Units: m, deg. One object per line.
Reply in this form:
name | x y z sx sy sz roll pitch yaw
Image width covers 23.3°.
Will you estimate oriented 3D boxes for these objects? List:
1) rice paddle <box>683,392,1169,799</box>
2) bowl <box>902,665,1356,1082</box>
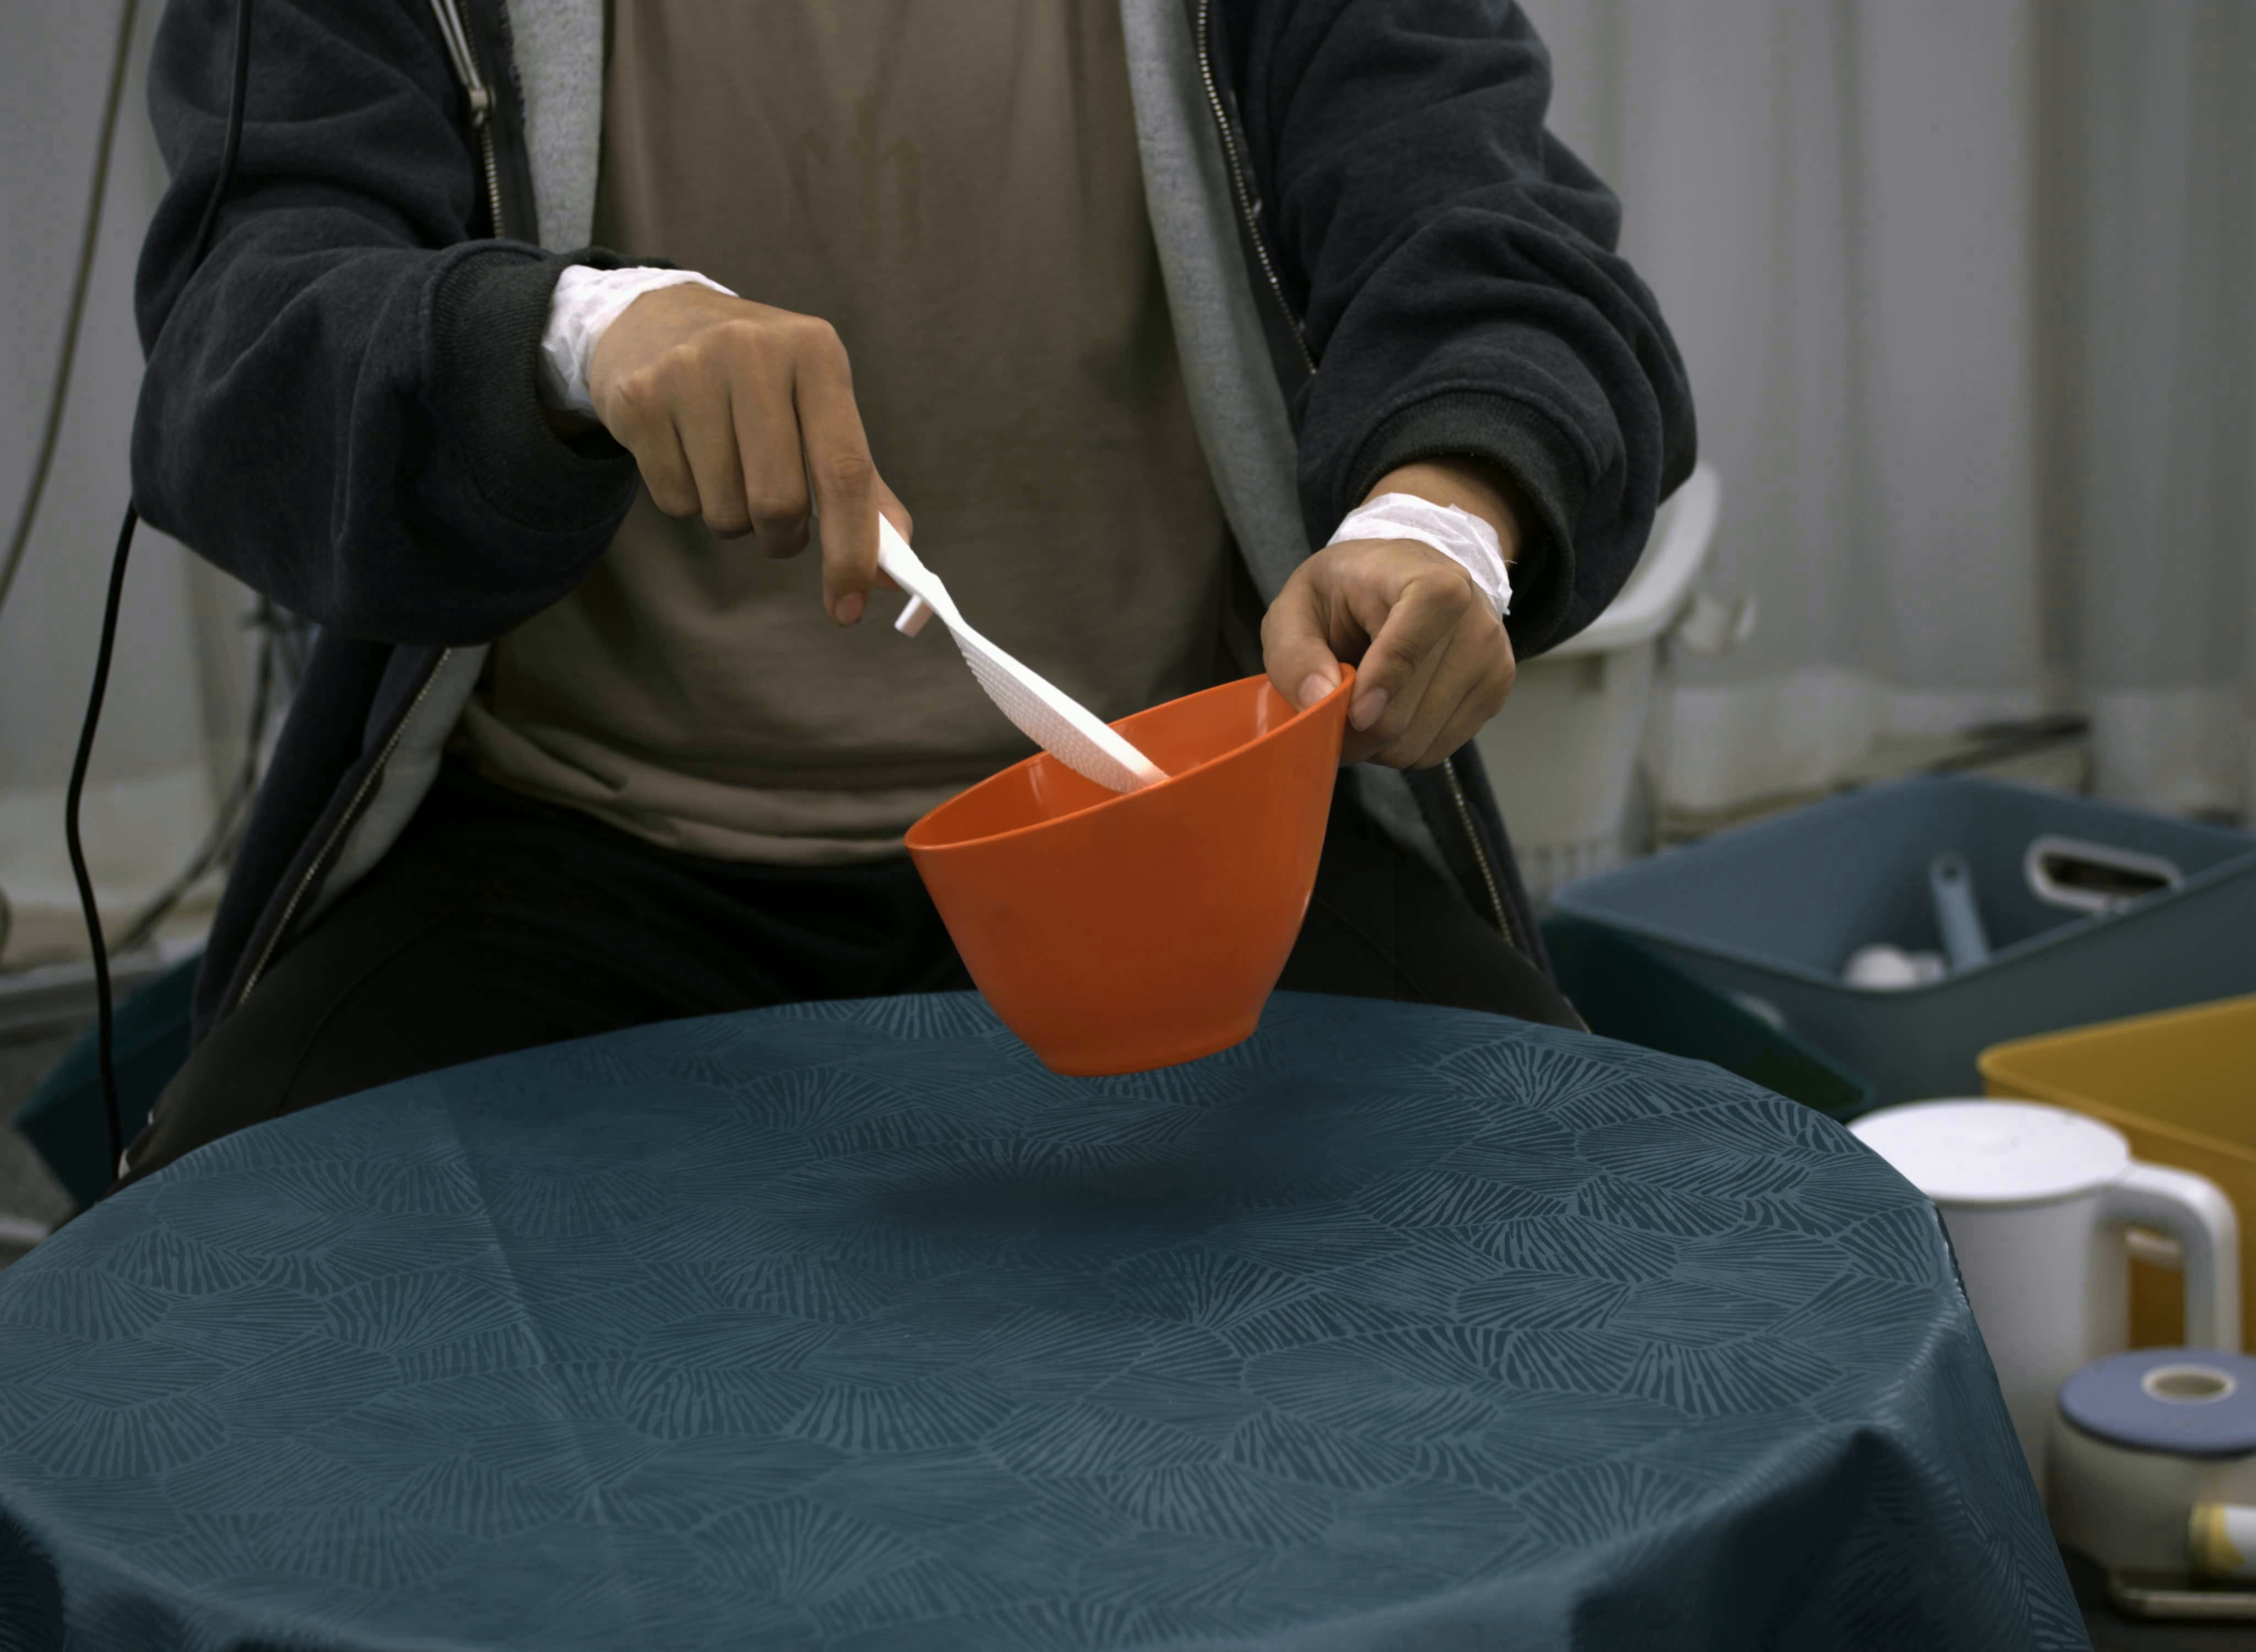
rice paddle | -0.057 -0.068 1.712 0.207 0.029 0.068 39 6 22
bowl | 0.008 0.018 1.688 0.147 0.104 0.149 -11 11 2
